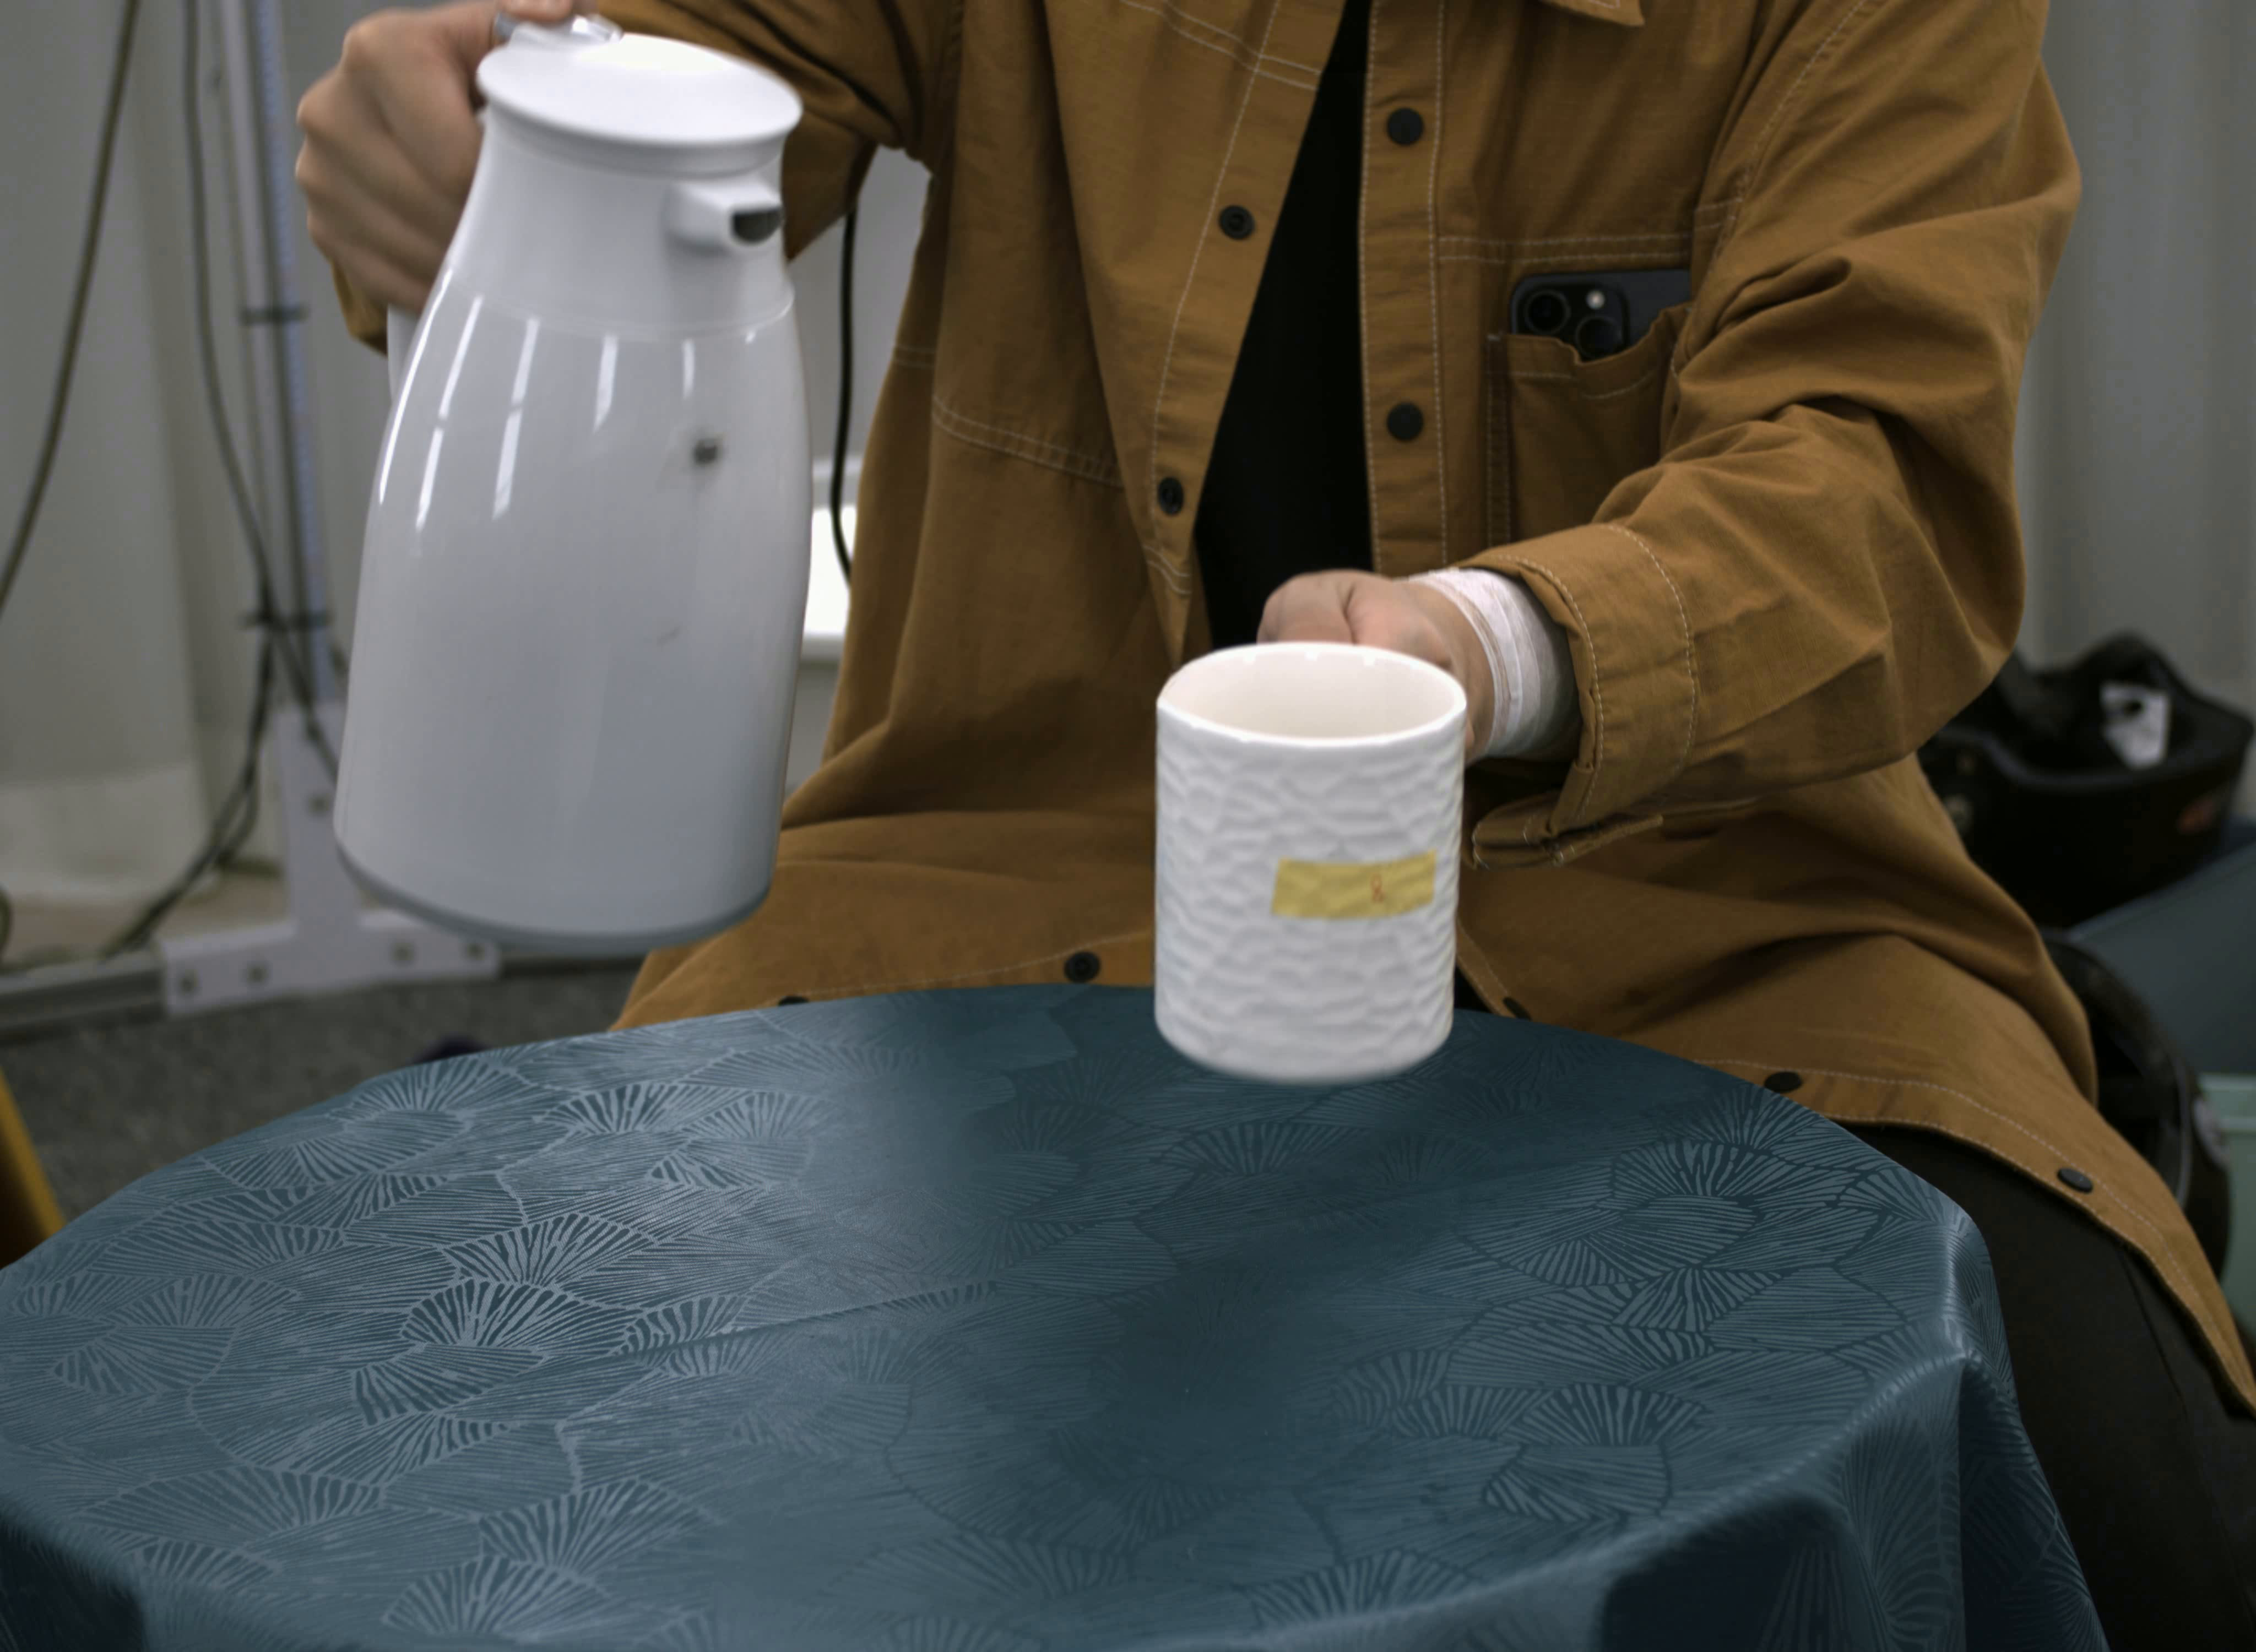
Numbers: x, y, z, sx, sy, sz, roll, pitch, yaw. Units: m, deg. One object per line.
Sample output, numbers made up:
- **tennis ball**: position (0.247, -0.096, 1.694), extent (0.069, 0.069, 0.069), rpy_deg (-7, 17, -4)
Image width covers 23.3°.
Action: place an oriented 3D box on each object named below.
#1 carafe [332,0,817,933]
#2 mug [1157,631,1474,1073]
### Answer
- **carafe**: position (-0.165, -0.116, 1.594), extent (0.132, 0.247, 0.169), rpy_deg (-12, 31, -40)
- **mug**: position (0.051, 0.002, 1.525), extent (0.084, 0.101, 0.119), rpy_deg (2, 19, 0)
